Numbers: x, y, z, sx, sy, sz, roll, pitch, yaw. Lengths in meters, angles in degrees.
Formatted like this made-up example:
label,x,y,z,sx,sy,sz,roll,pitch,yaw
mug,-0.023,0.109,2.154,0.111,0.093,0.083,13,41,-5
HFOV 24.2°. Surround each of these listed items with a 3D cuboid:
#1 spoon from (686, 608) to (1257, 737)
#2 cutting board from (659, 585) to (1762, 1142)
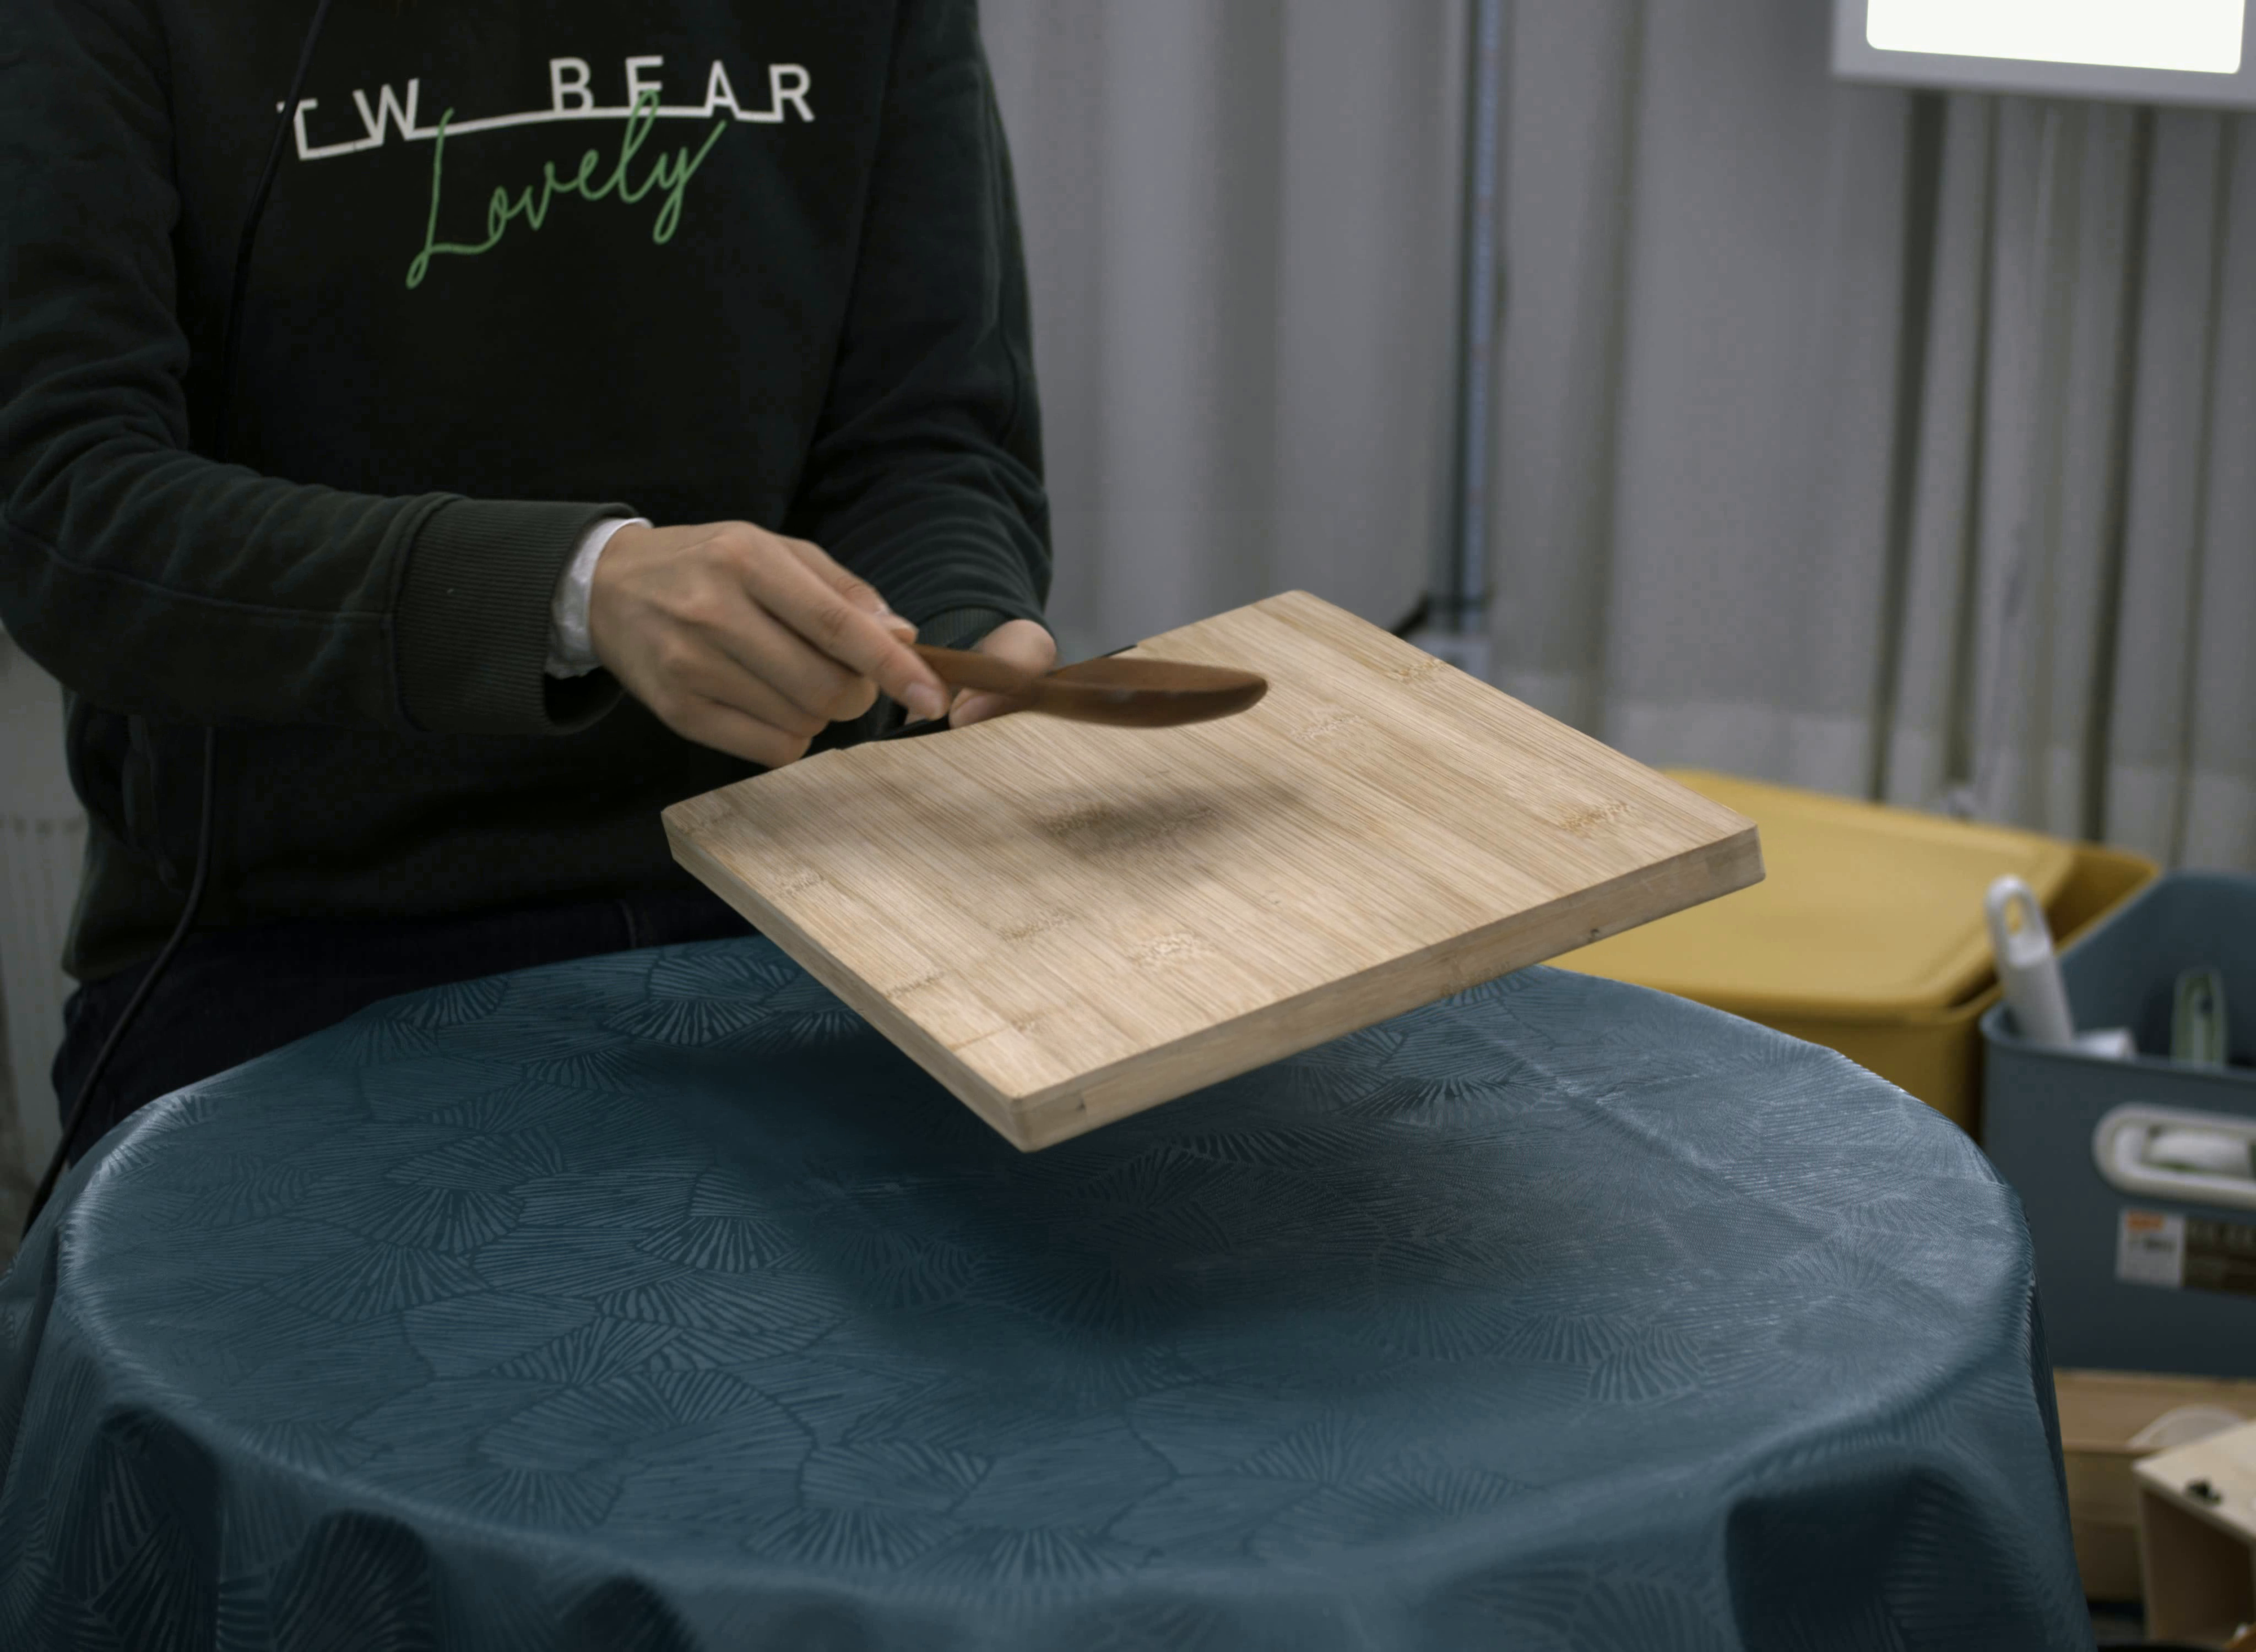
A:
label,x,y,z,sx,sy,sz,roll,pitch,yaw
spoon,-0.054,-0.048,1.658,0.213,0.017,0.076,11,14,35
cutting board,0.014,0.004,1.650,0.251,0.024,0.344,-19,21,-18
